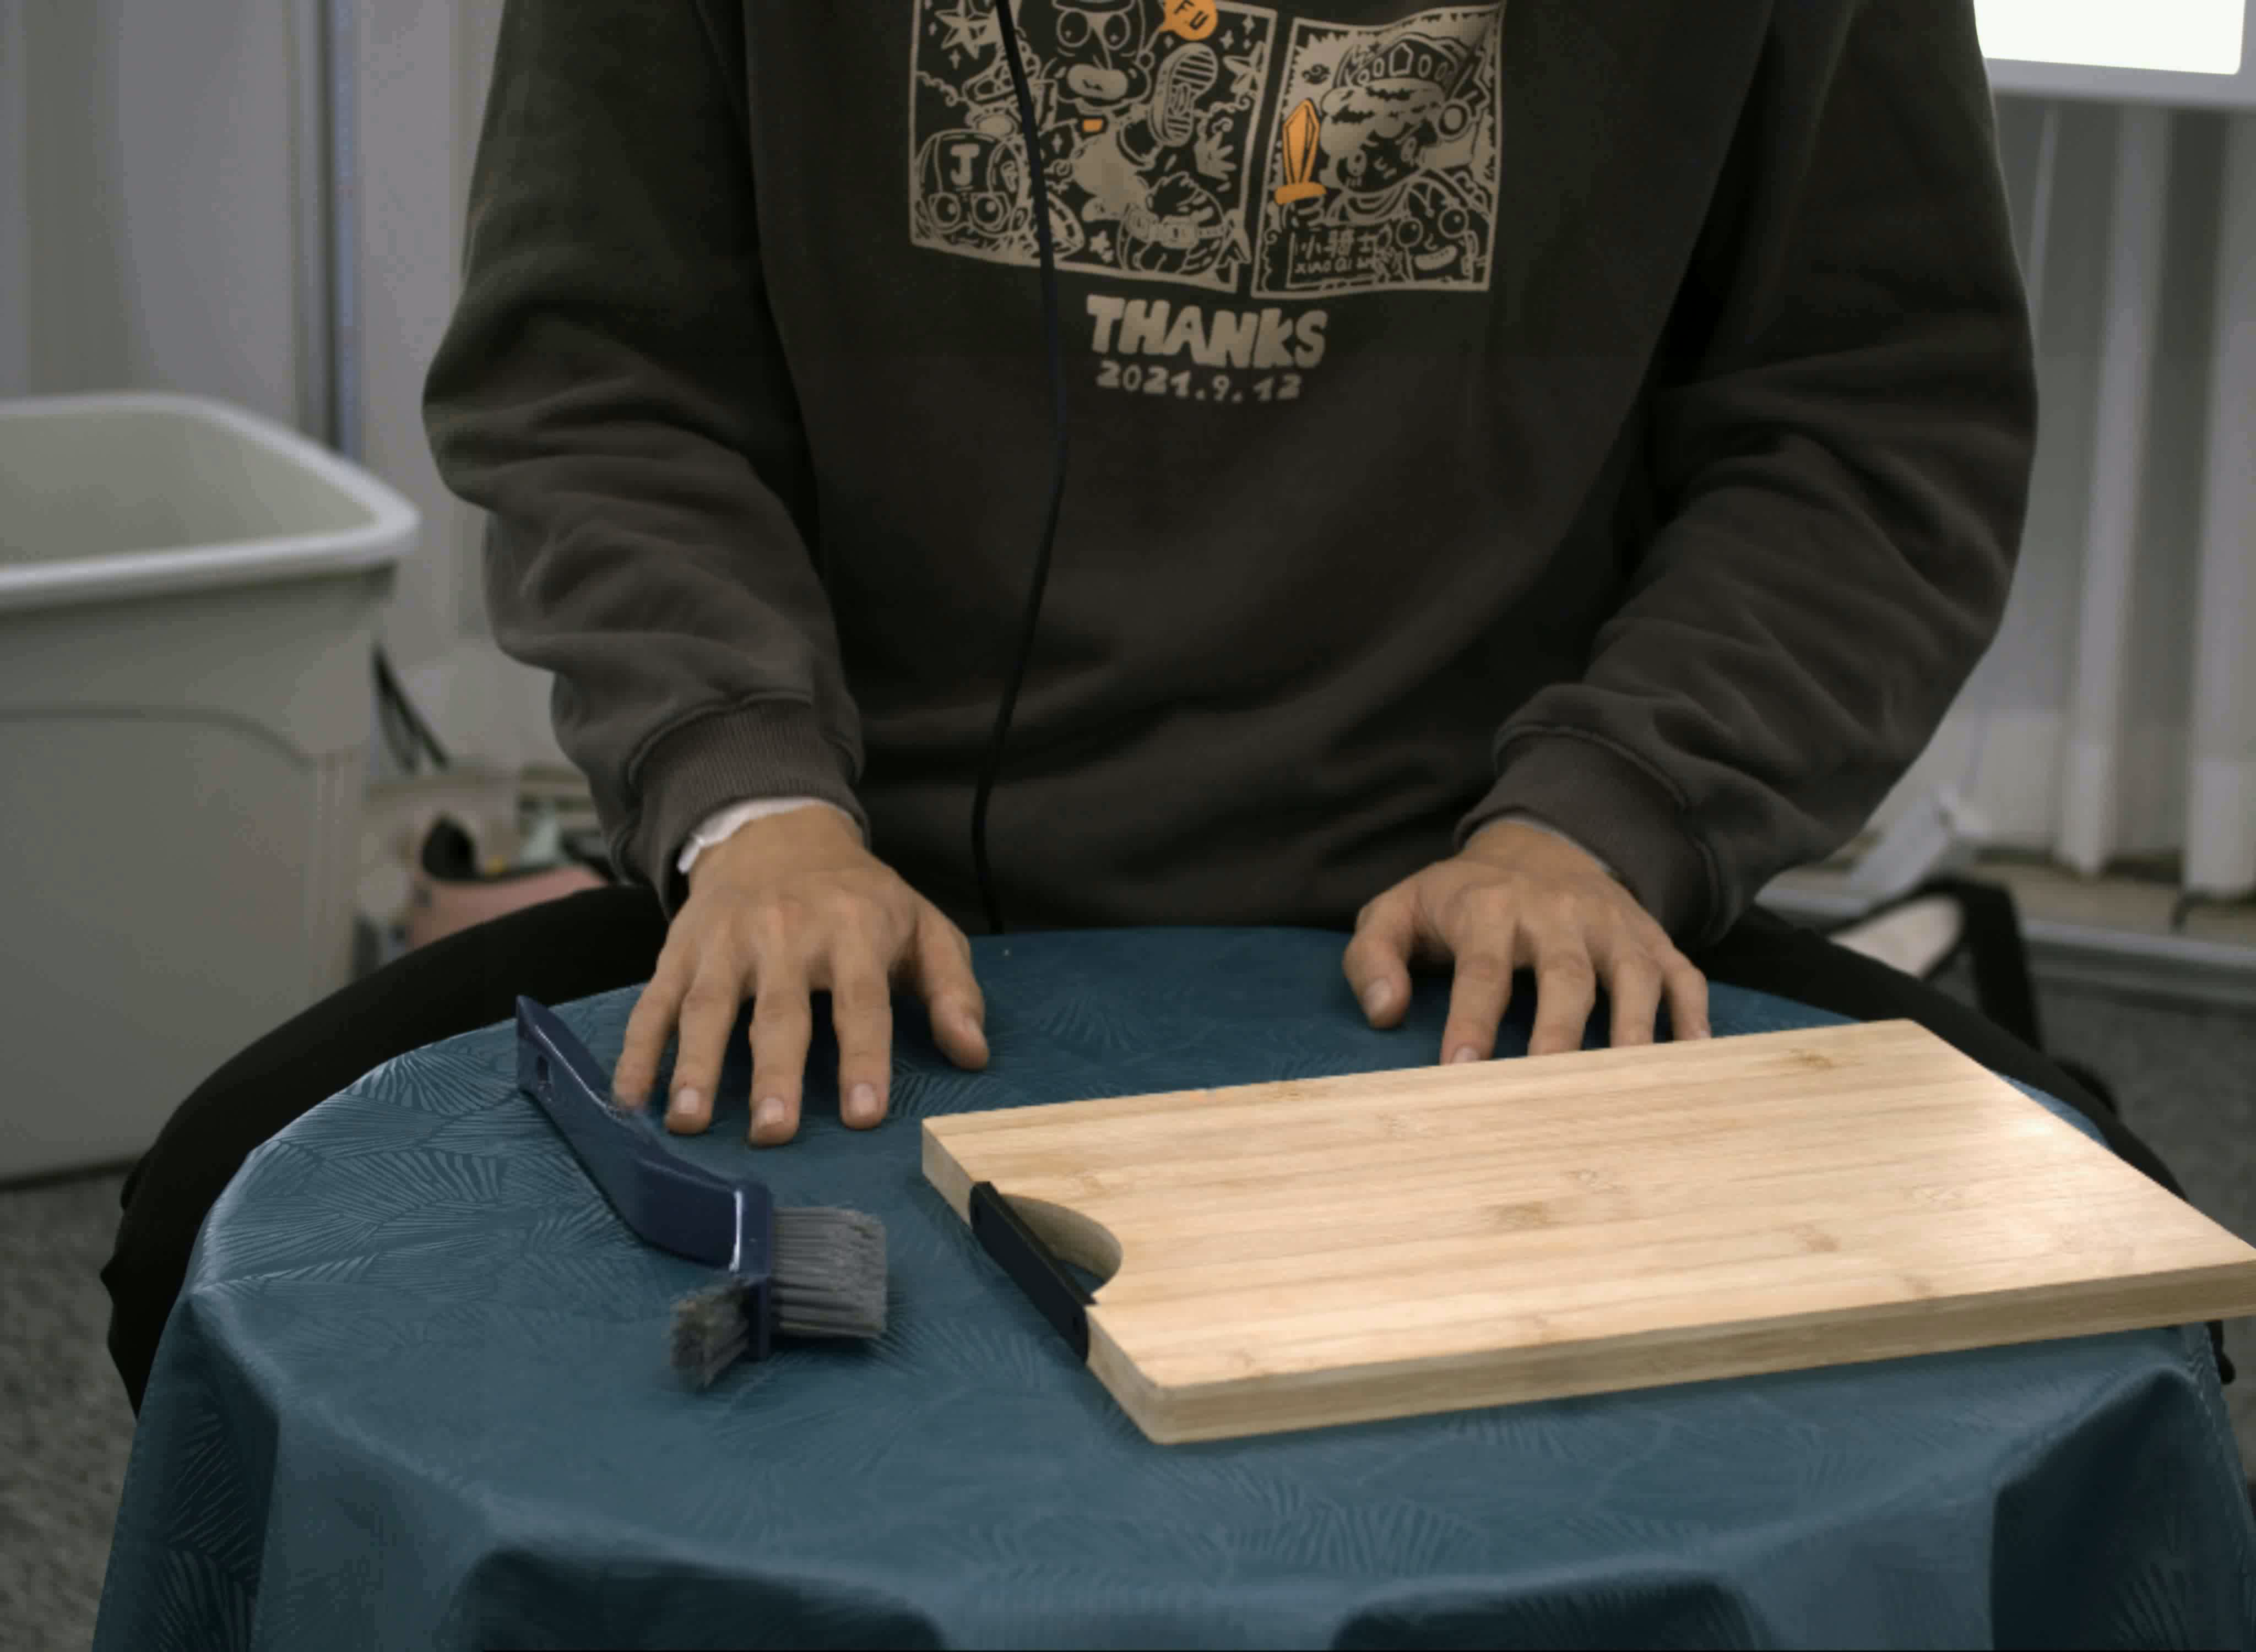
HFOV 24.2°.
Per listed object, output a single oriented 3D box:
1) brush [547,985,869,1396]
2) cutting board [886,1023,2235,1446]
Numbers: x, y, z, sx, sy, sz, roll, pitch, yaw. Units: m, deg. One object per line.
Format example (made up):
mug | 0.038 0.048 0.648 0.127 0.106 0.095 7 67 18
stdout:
brush | -0.152 0.106 1.592 0.096 0.034 0.270 -8 19 -27
cutting board | 0.125 0.118 1.586 0.349 0.024 0.248 -5 16 -19
